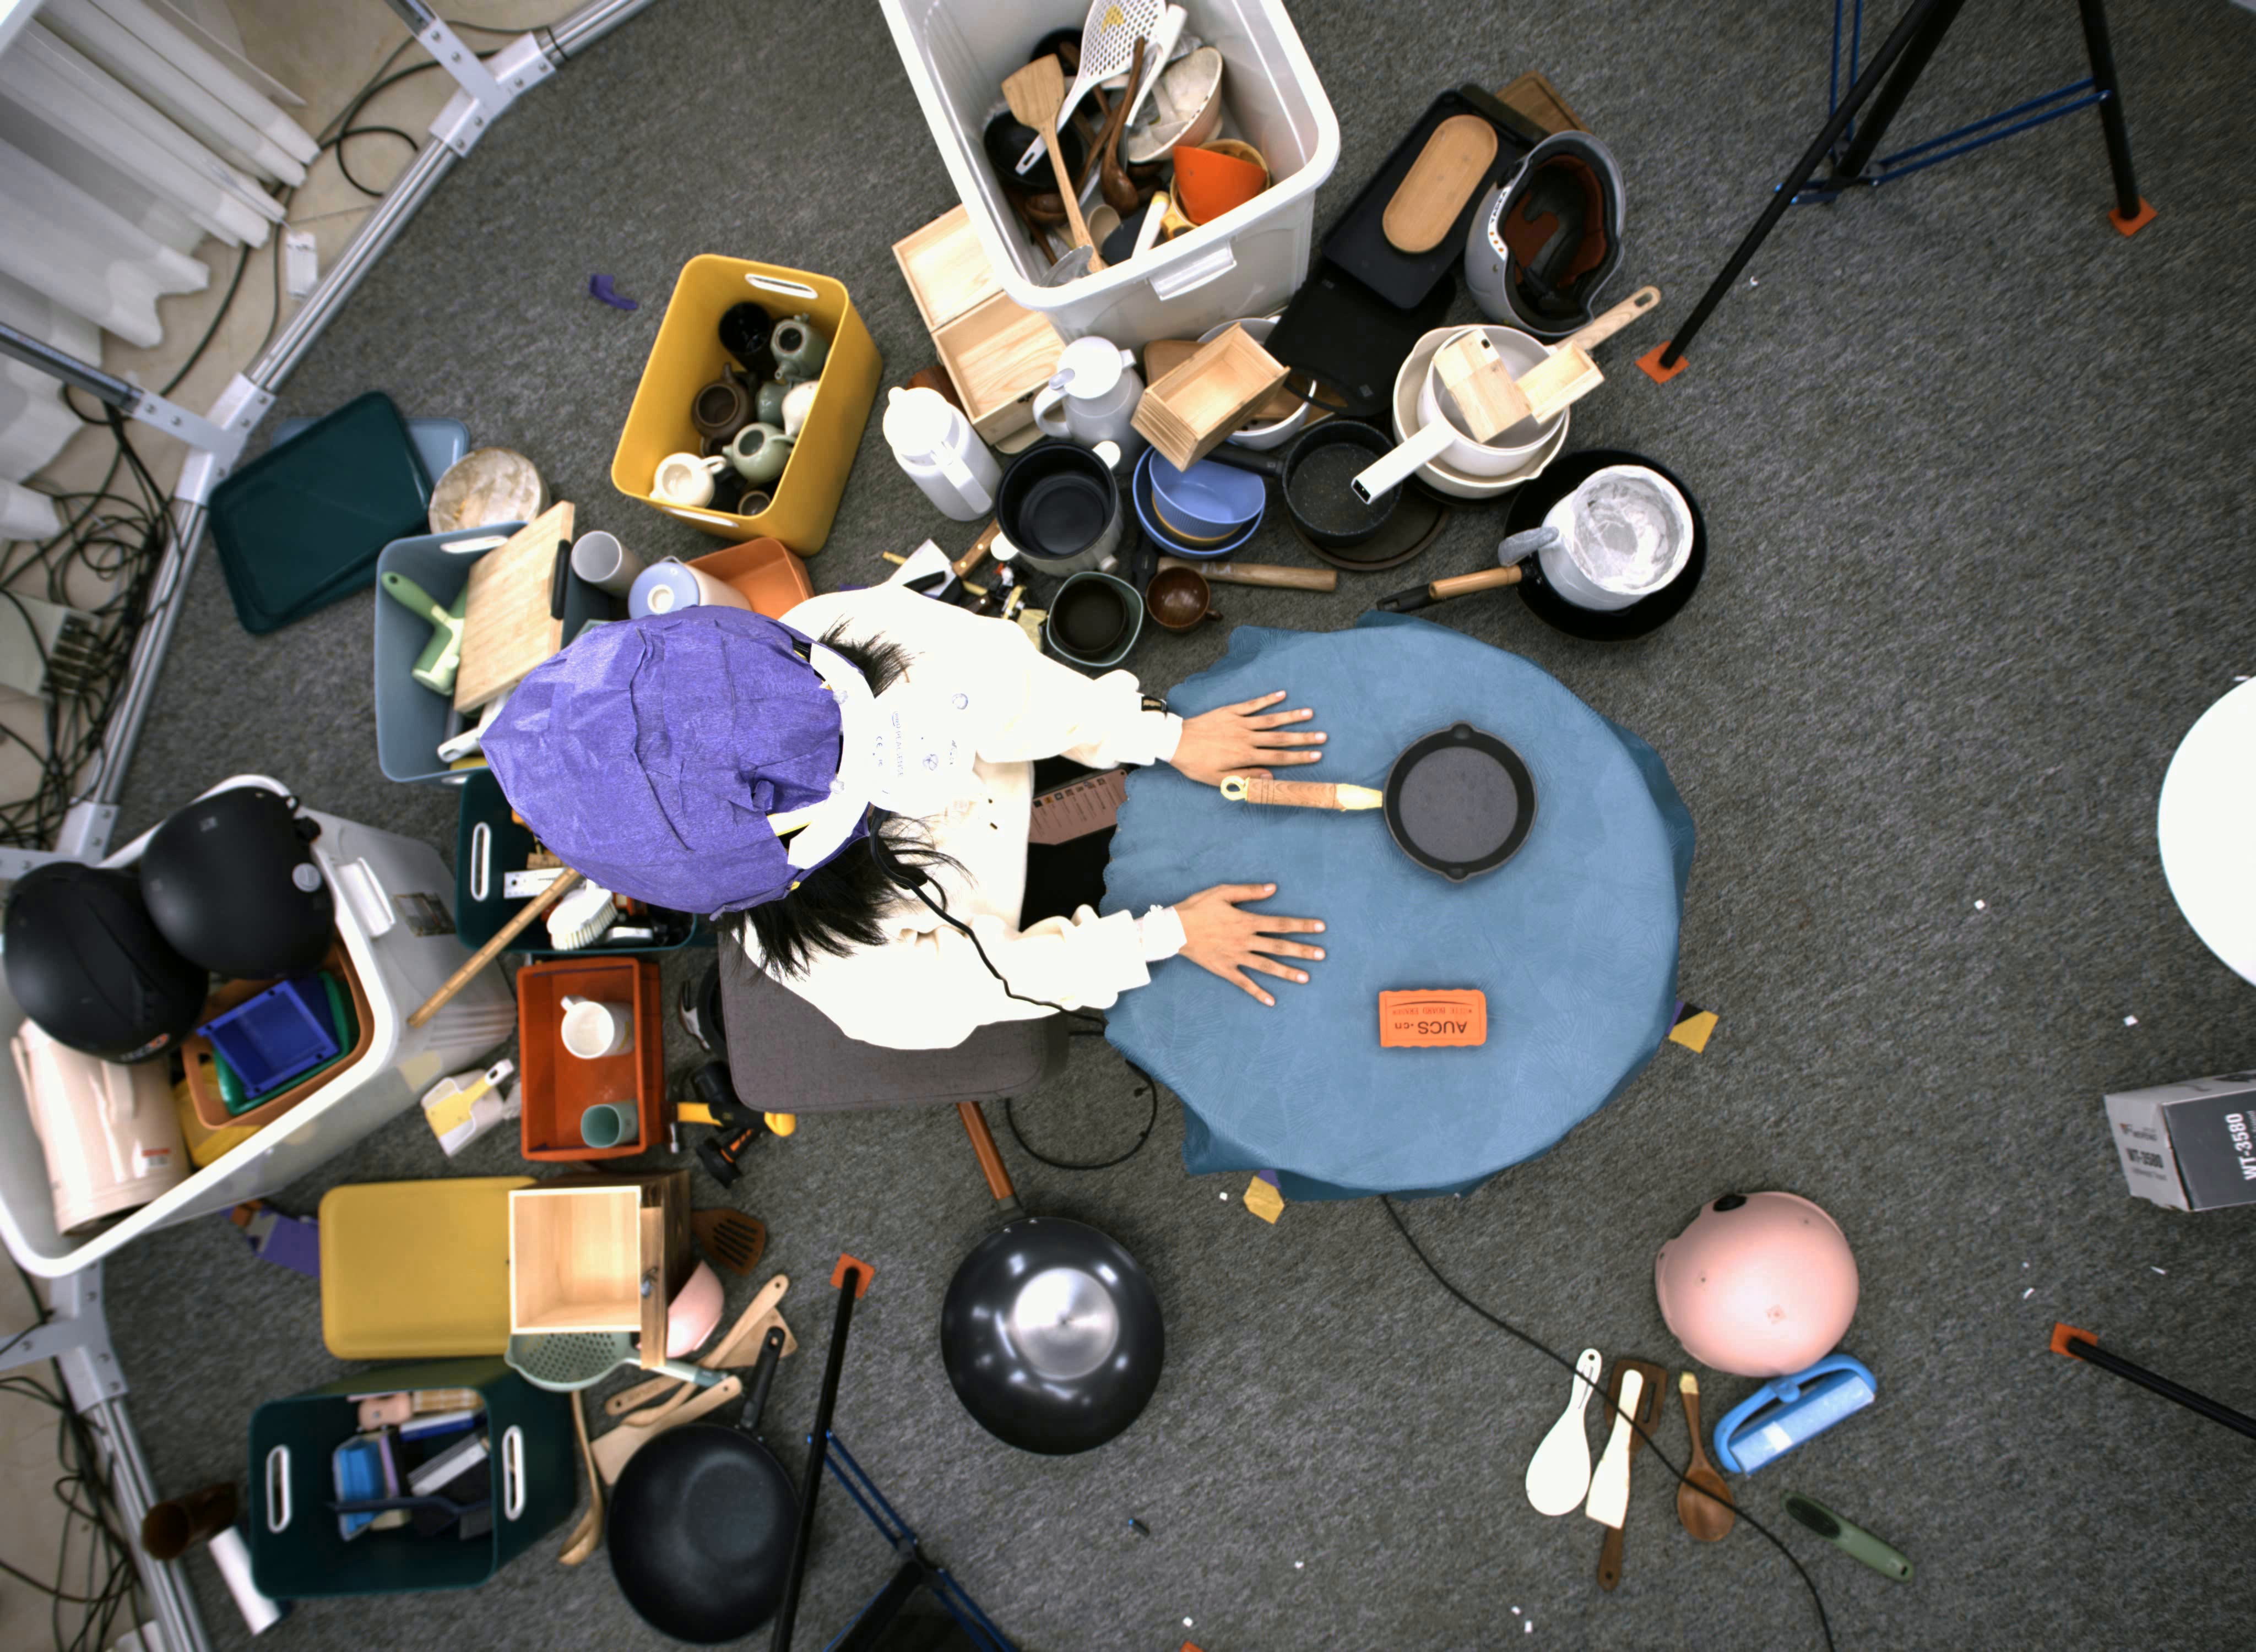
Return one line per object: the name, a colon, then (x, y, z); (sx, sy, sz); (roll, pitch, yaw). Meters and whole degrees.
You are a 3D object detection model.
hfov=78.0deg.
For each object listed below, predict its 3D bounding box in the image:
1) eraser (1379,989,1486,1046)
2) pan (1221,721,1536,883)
eraser: (0.315, 0.197, 1.433); (0.108, 0.023, 0.059); (-1, 87, 10)
pan: (0.260, -0.032, 1.442); (0.325, 0.049, 0.168); (4, 88, 10)
